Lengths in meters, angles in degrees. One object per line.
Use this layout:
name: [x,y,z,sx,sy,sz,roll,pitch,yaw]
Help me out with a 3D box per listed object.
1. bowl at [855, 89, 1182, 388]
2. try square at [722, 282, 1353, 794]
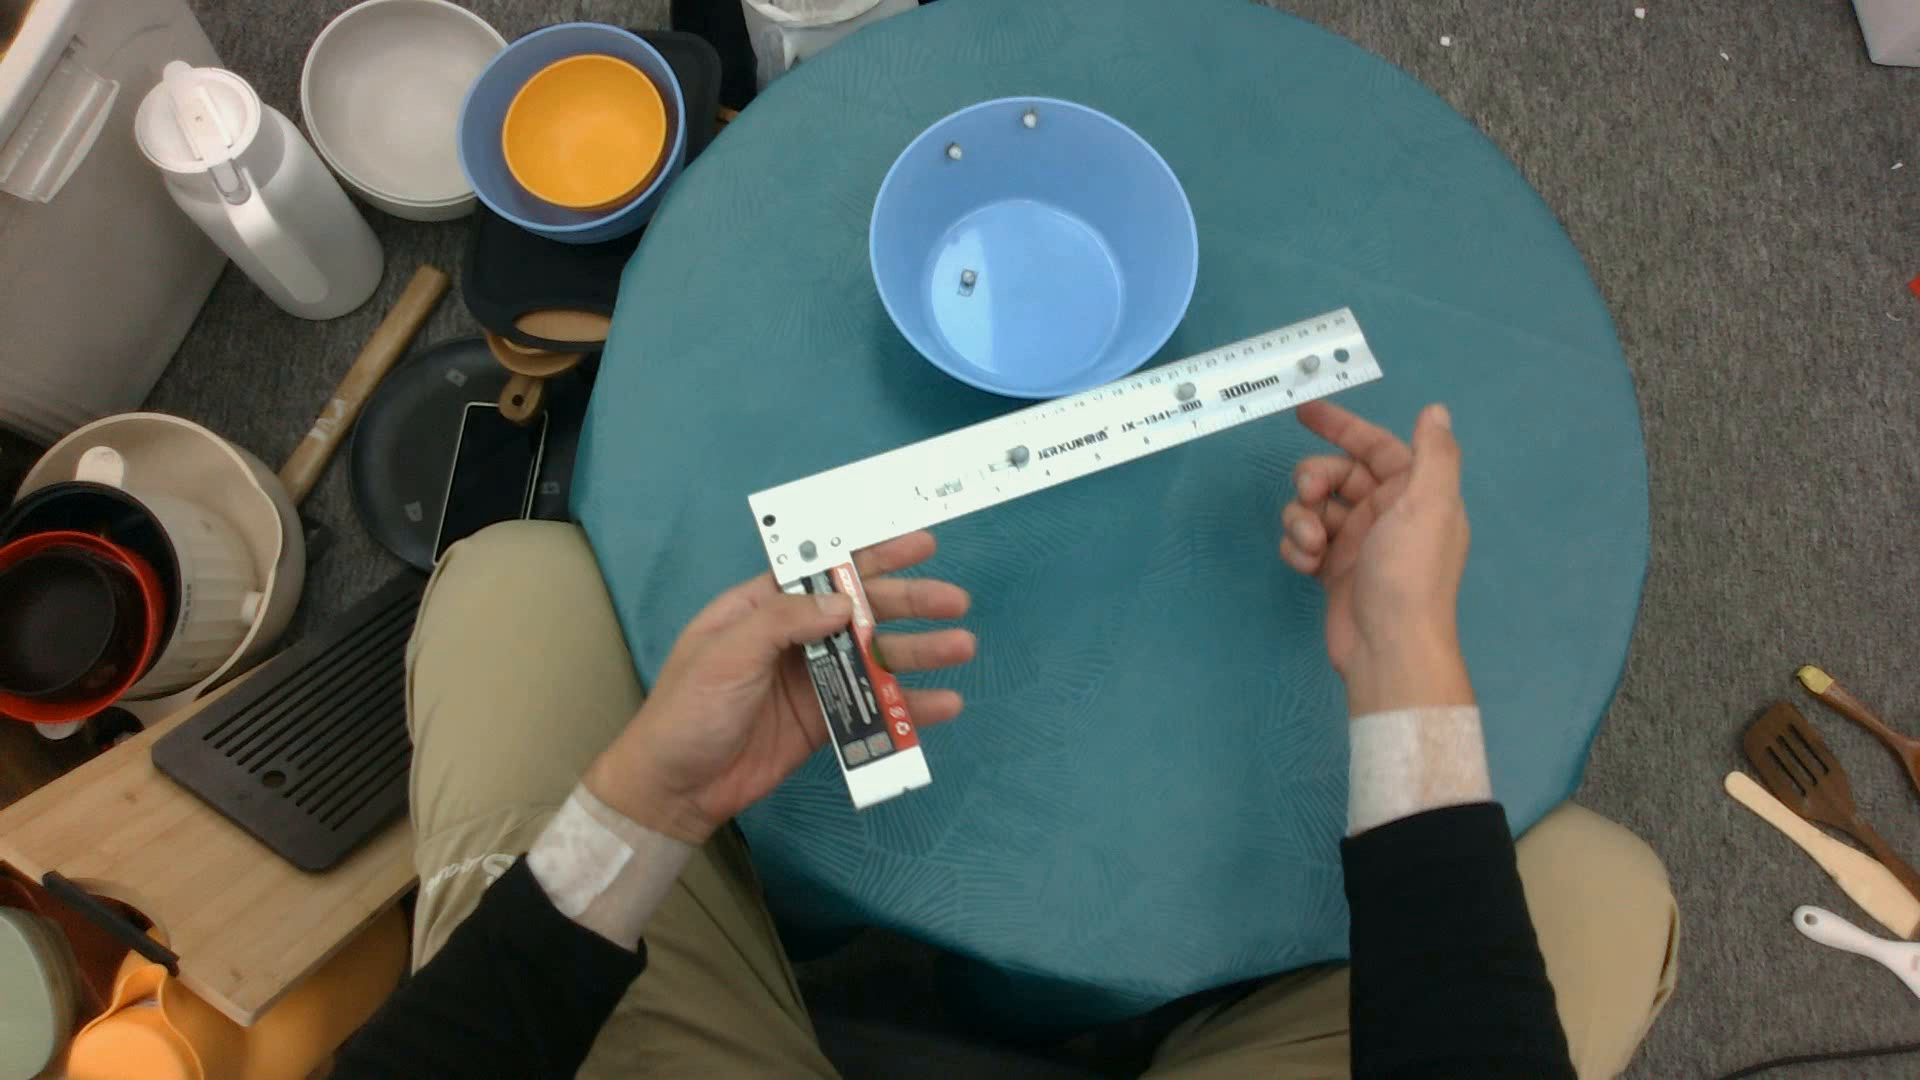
bowl: [0.030,-0.155,0.762,0.176,0.070,0.176,1,74,-4]
try square: [0.061,-0.009,0.633,0.313,0.016,0.152,-19,79,-13]
